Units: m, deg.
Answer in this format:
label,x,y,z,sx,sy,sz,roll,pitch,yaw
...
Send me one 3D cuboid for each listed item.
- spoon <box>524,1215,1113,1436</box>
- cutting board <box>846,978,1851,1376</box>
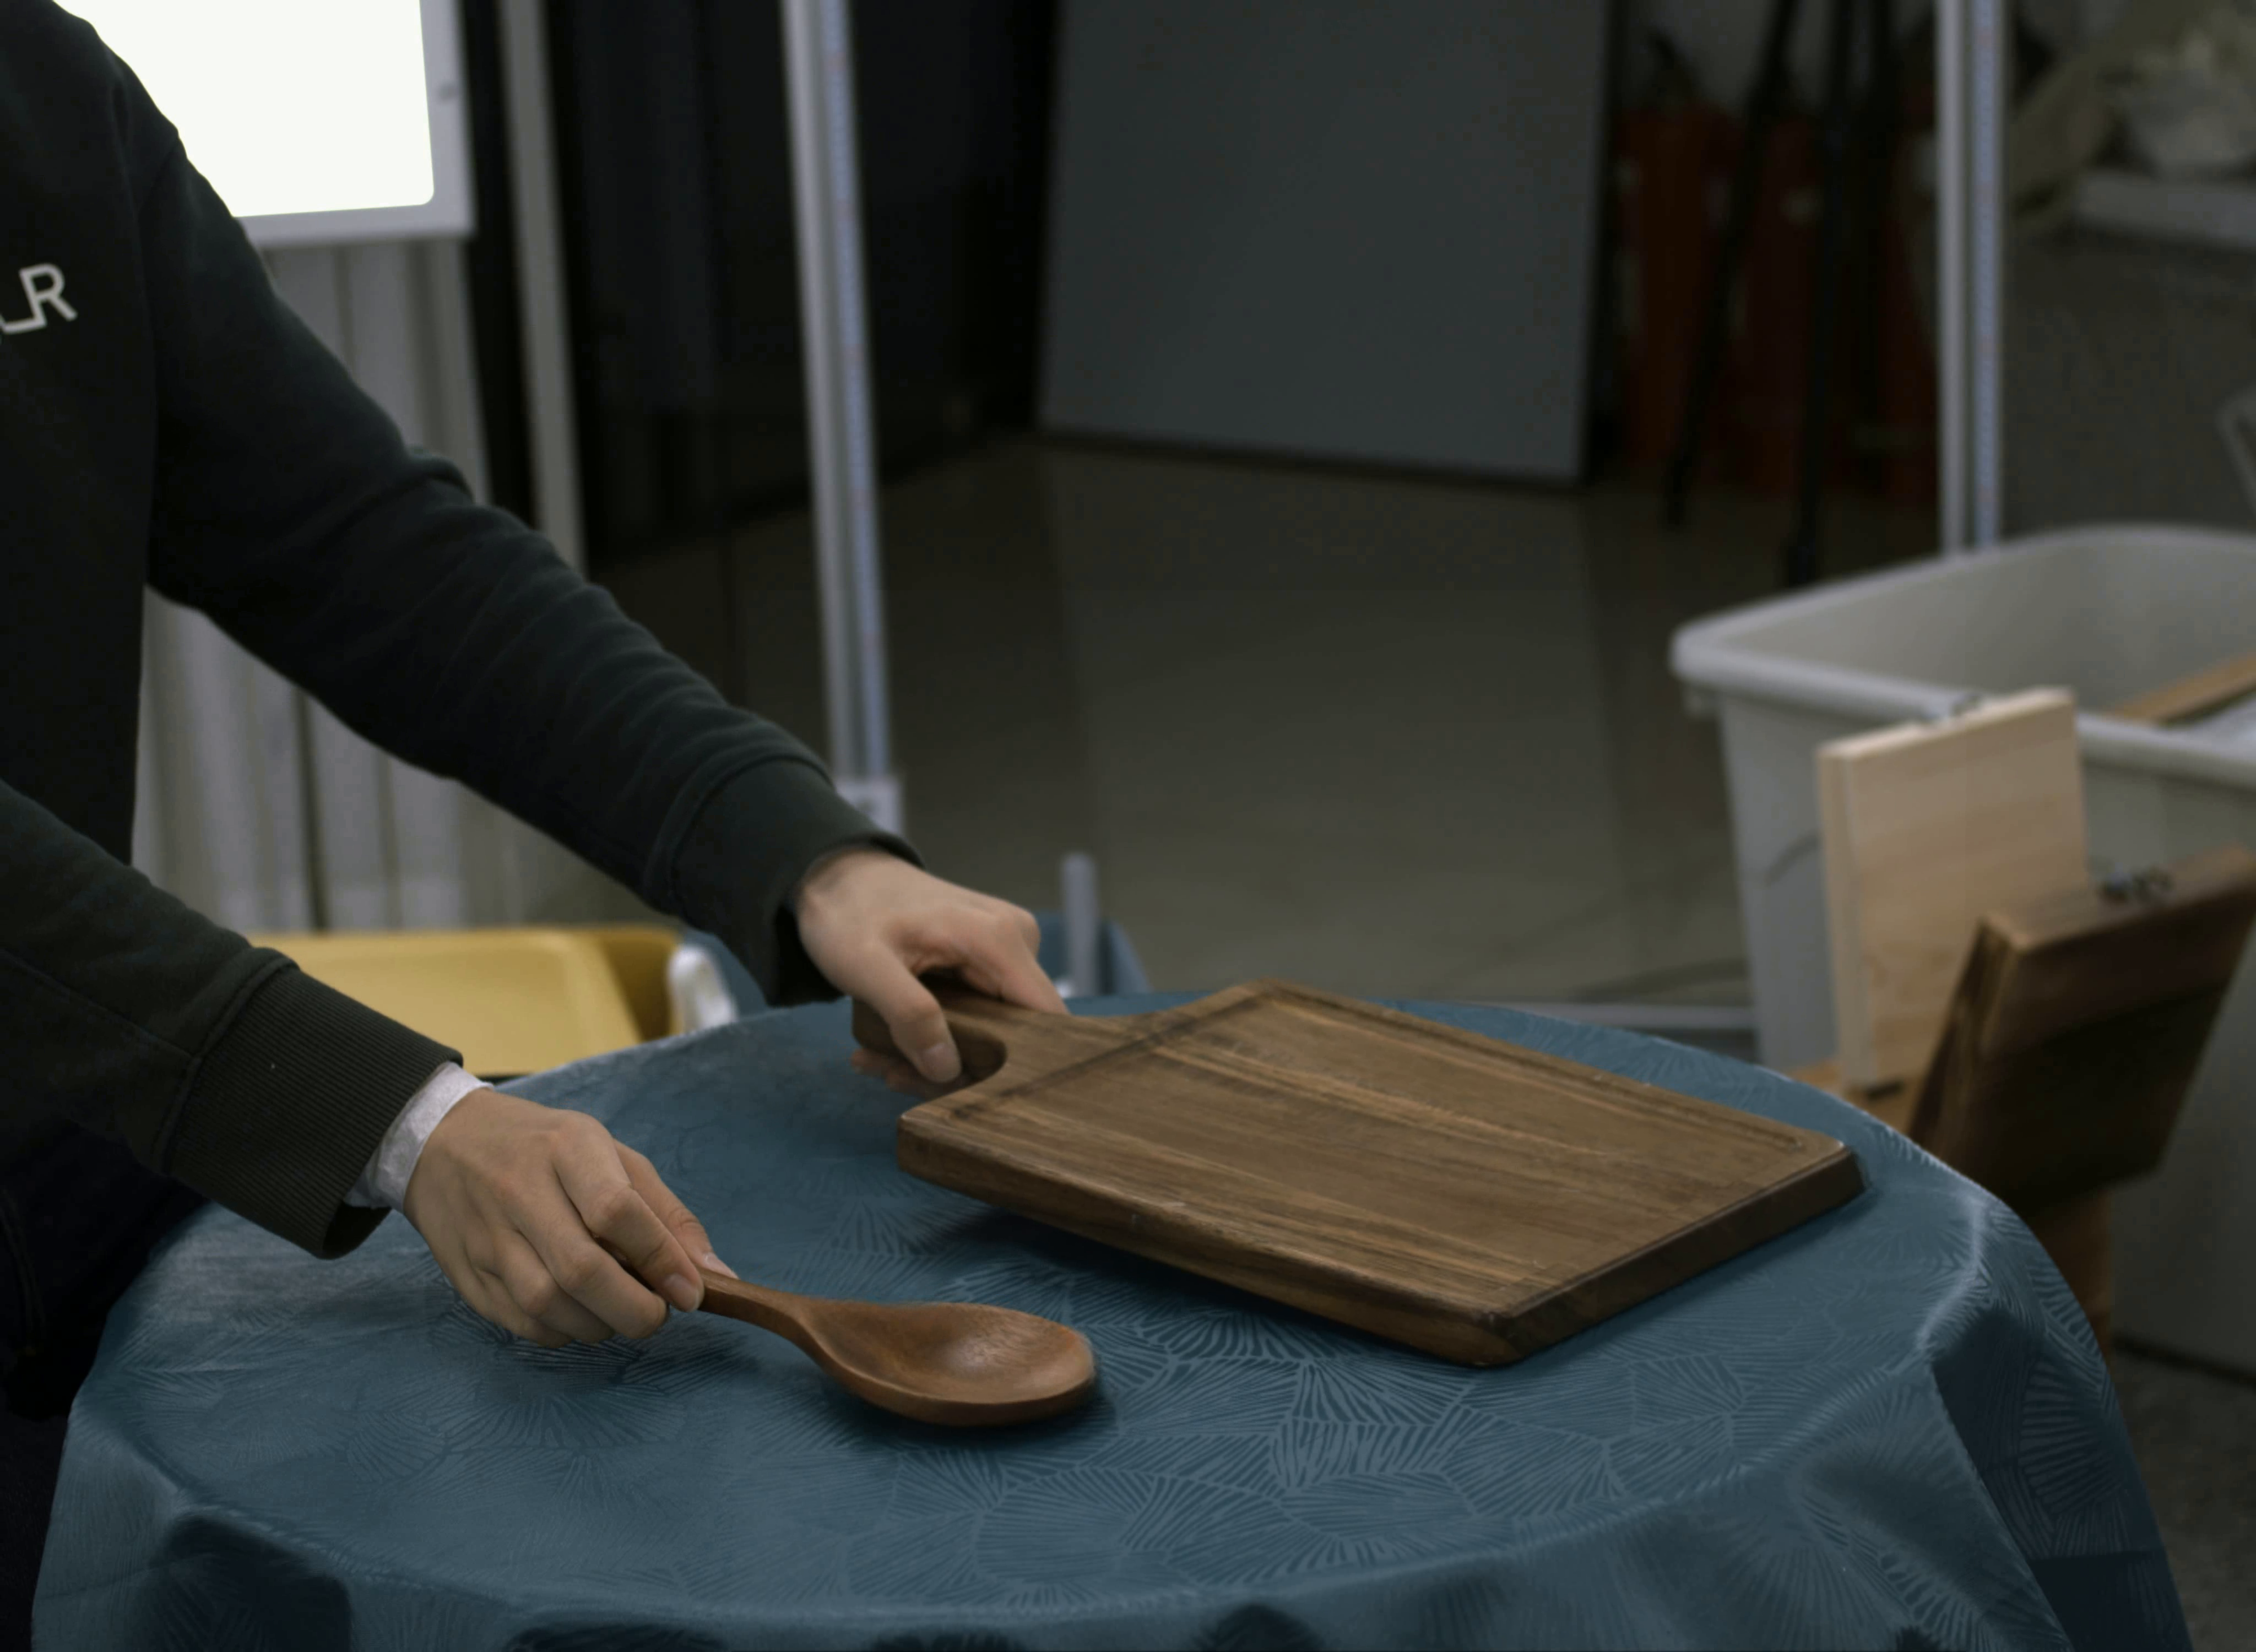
label,x,y,z,sx,sy,sz,roll,pitch,yaw
spoon,-0.097,0.149,1.621,0.217,0.017,0.074,14,24,35
cutting board,0.041,0.097,1.756,0.355,0.023,0.197,14,24,40
